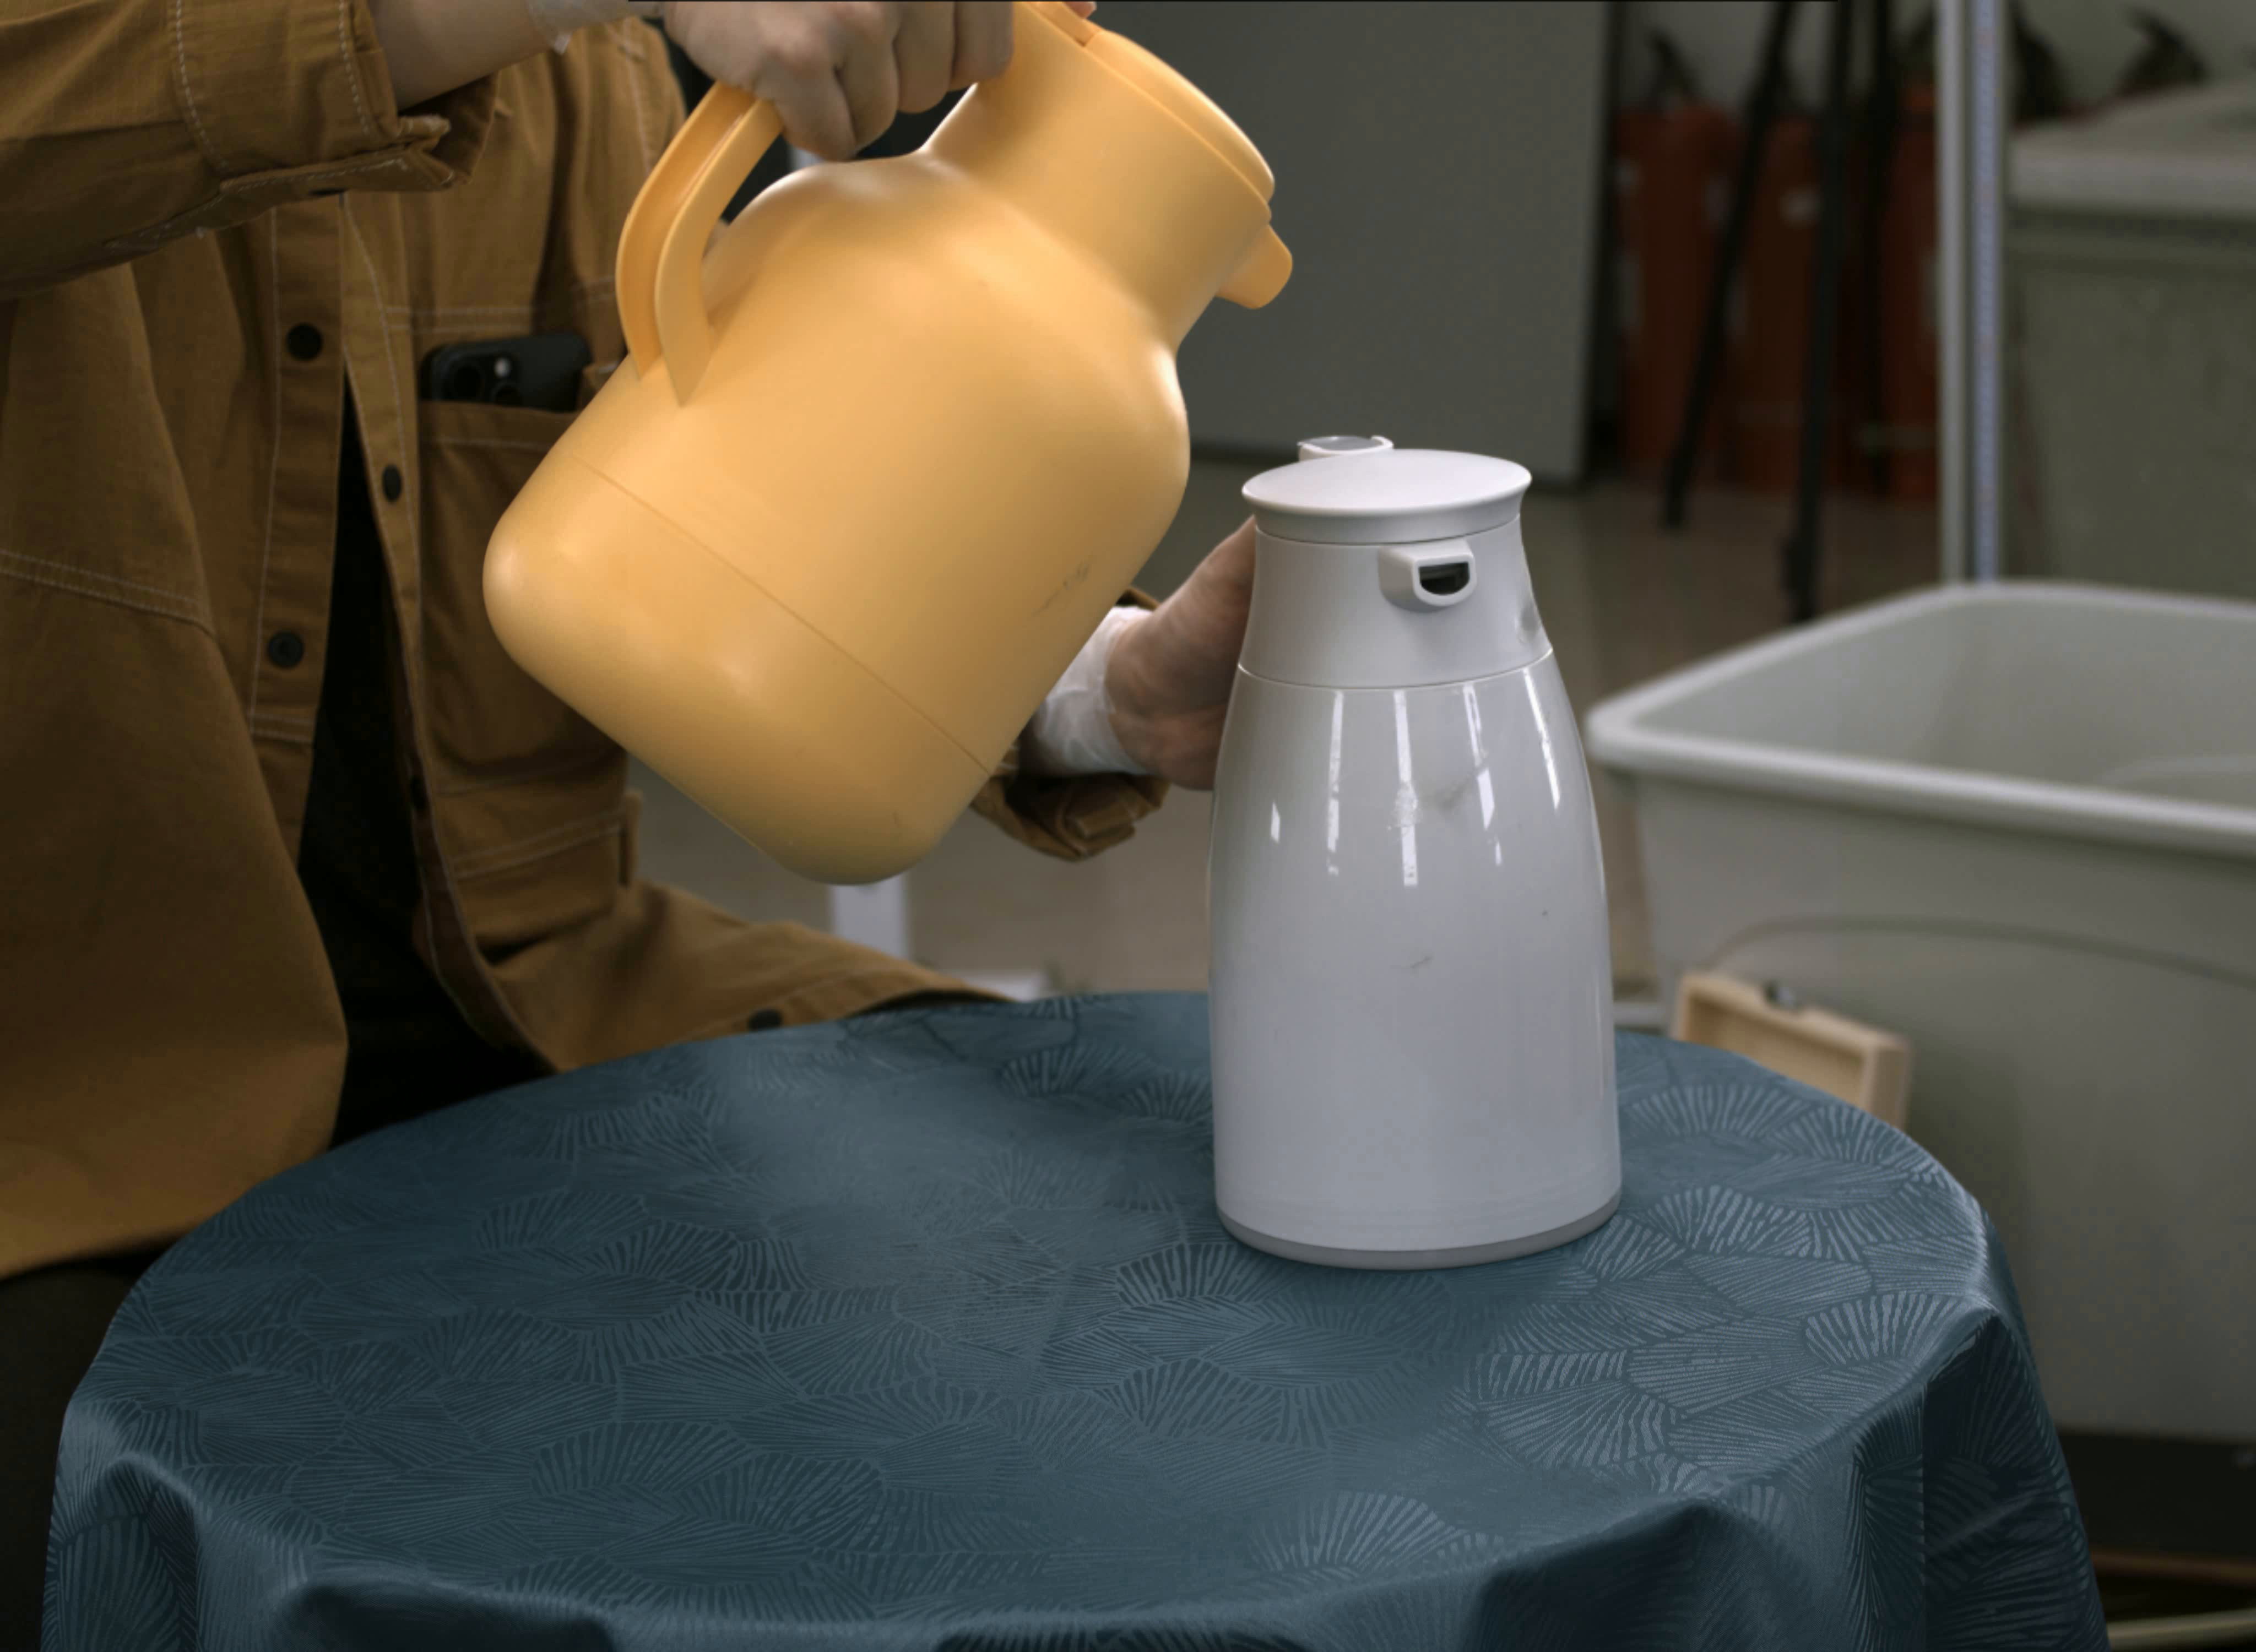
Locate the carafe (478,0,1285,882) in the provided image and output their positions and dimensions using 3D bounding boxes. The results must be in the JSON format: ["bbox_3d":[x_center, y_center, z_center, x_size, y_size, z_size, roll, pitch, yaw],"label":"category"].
[{"bbox_3d":[-0.078,-0.133,1.598,0.199,0.261,0.165,38,-4,-37],"label":"carafe"}]

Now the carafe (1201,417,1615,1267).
[{"bbox_3d":[0.080,-0.003,1.729,0.130,0.251,0.169,-7,13,-12],"label":"carafe"}]
